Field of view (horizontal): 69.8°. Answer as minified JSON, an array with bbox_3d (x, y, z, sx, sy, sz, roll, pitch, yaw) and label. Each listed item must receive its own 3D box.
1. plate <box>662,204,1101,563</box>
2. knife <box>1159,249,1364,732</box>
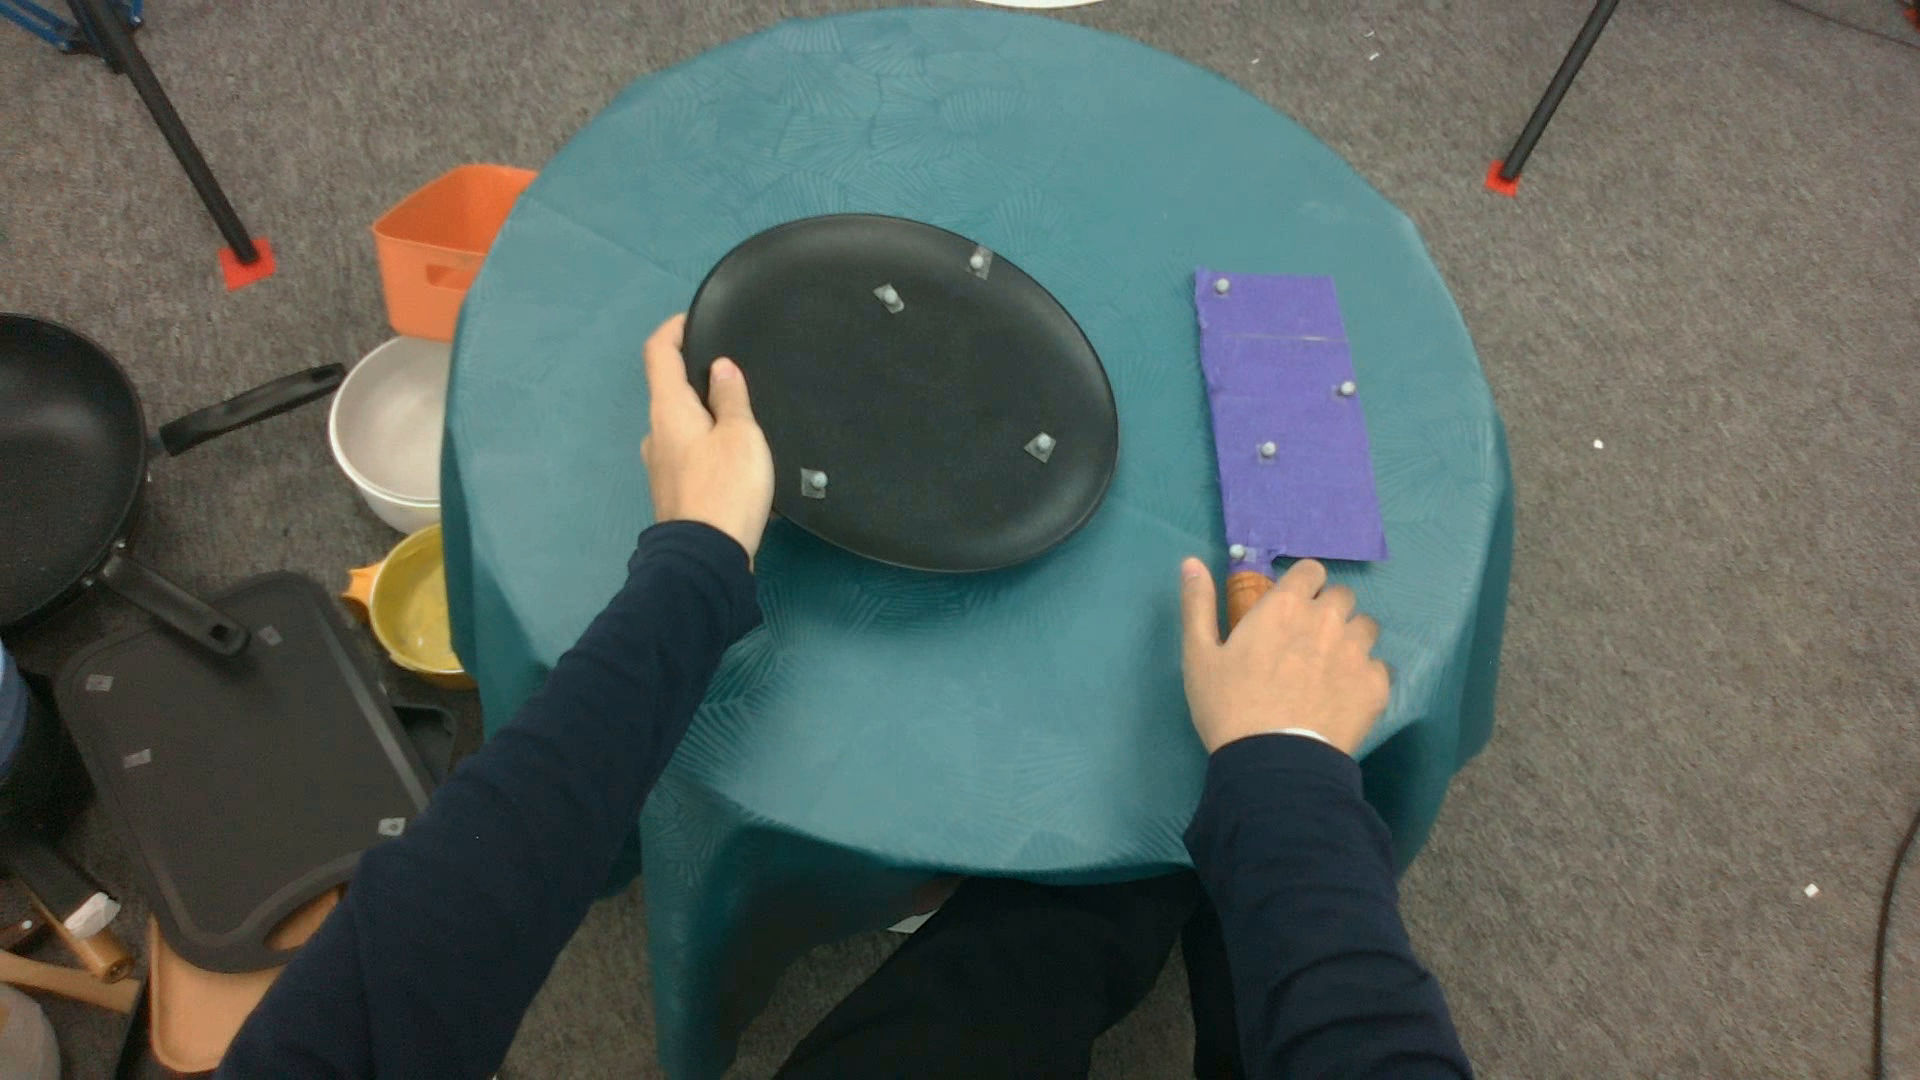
[{"bbox_3d":[-0.039,-0.086,0.744,0.244,0.023,0.245,11,53,-16],"label":"plate"},{"bbox_3d":[0.177,-0.043,0.771,0.104,0.032,0.316,2,60,-6],"label":"knife"}]
